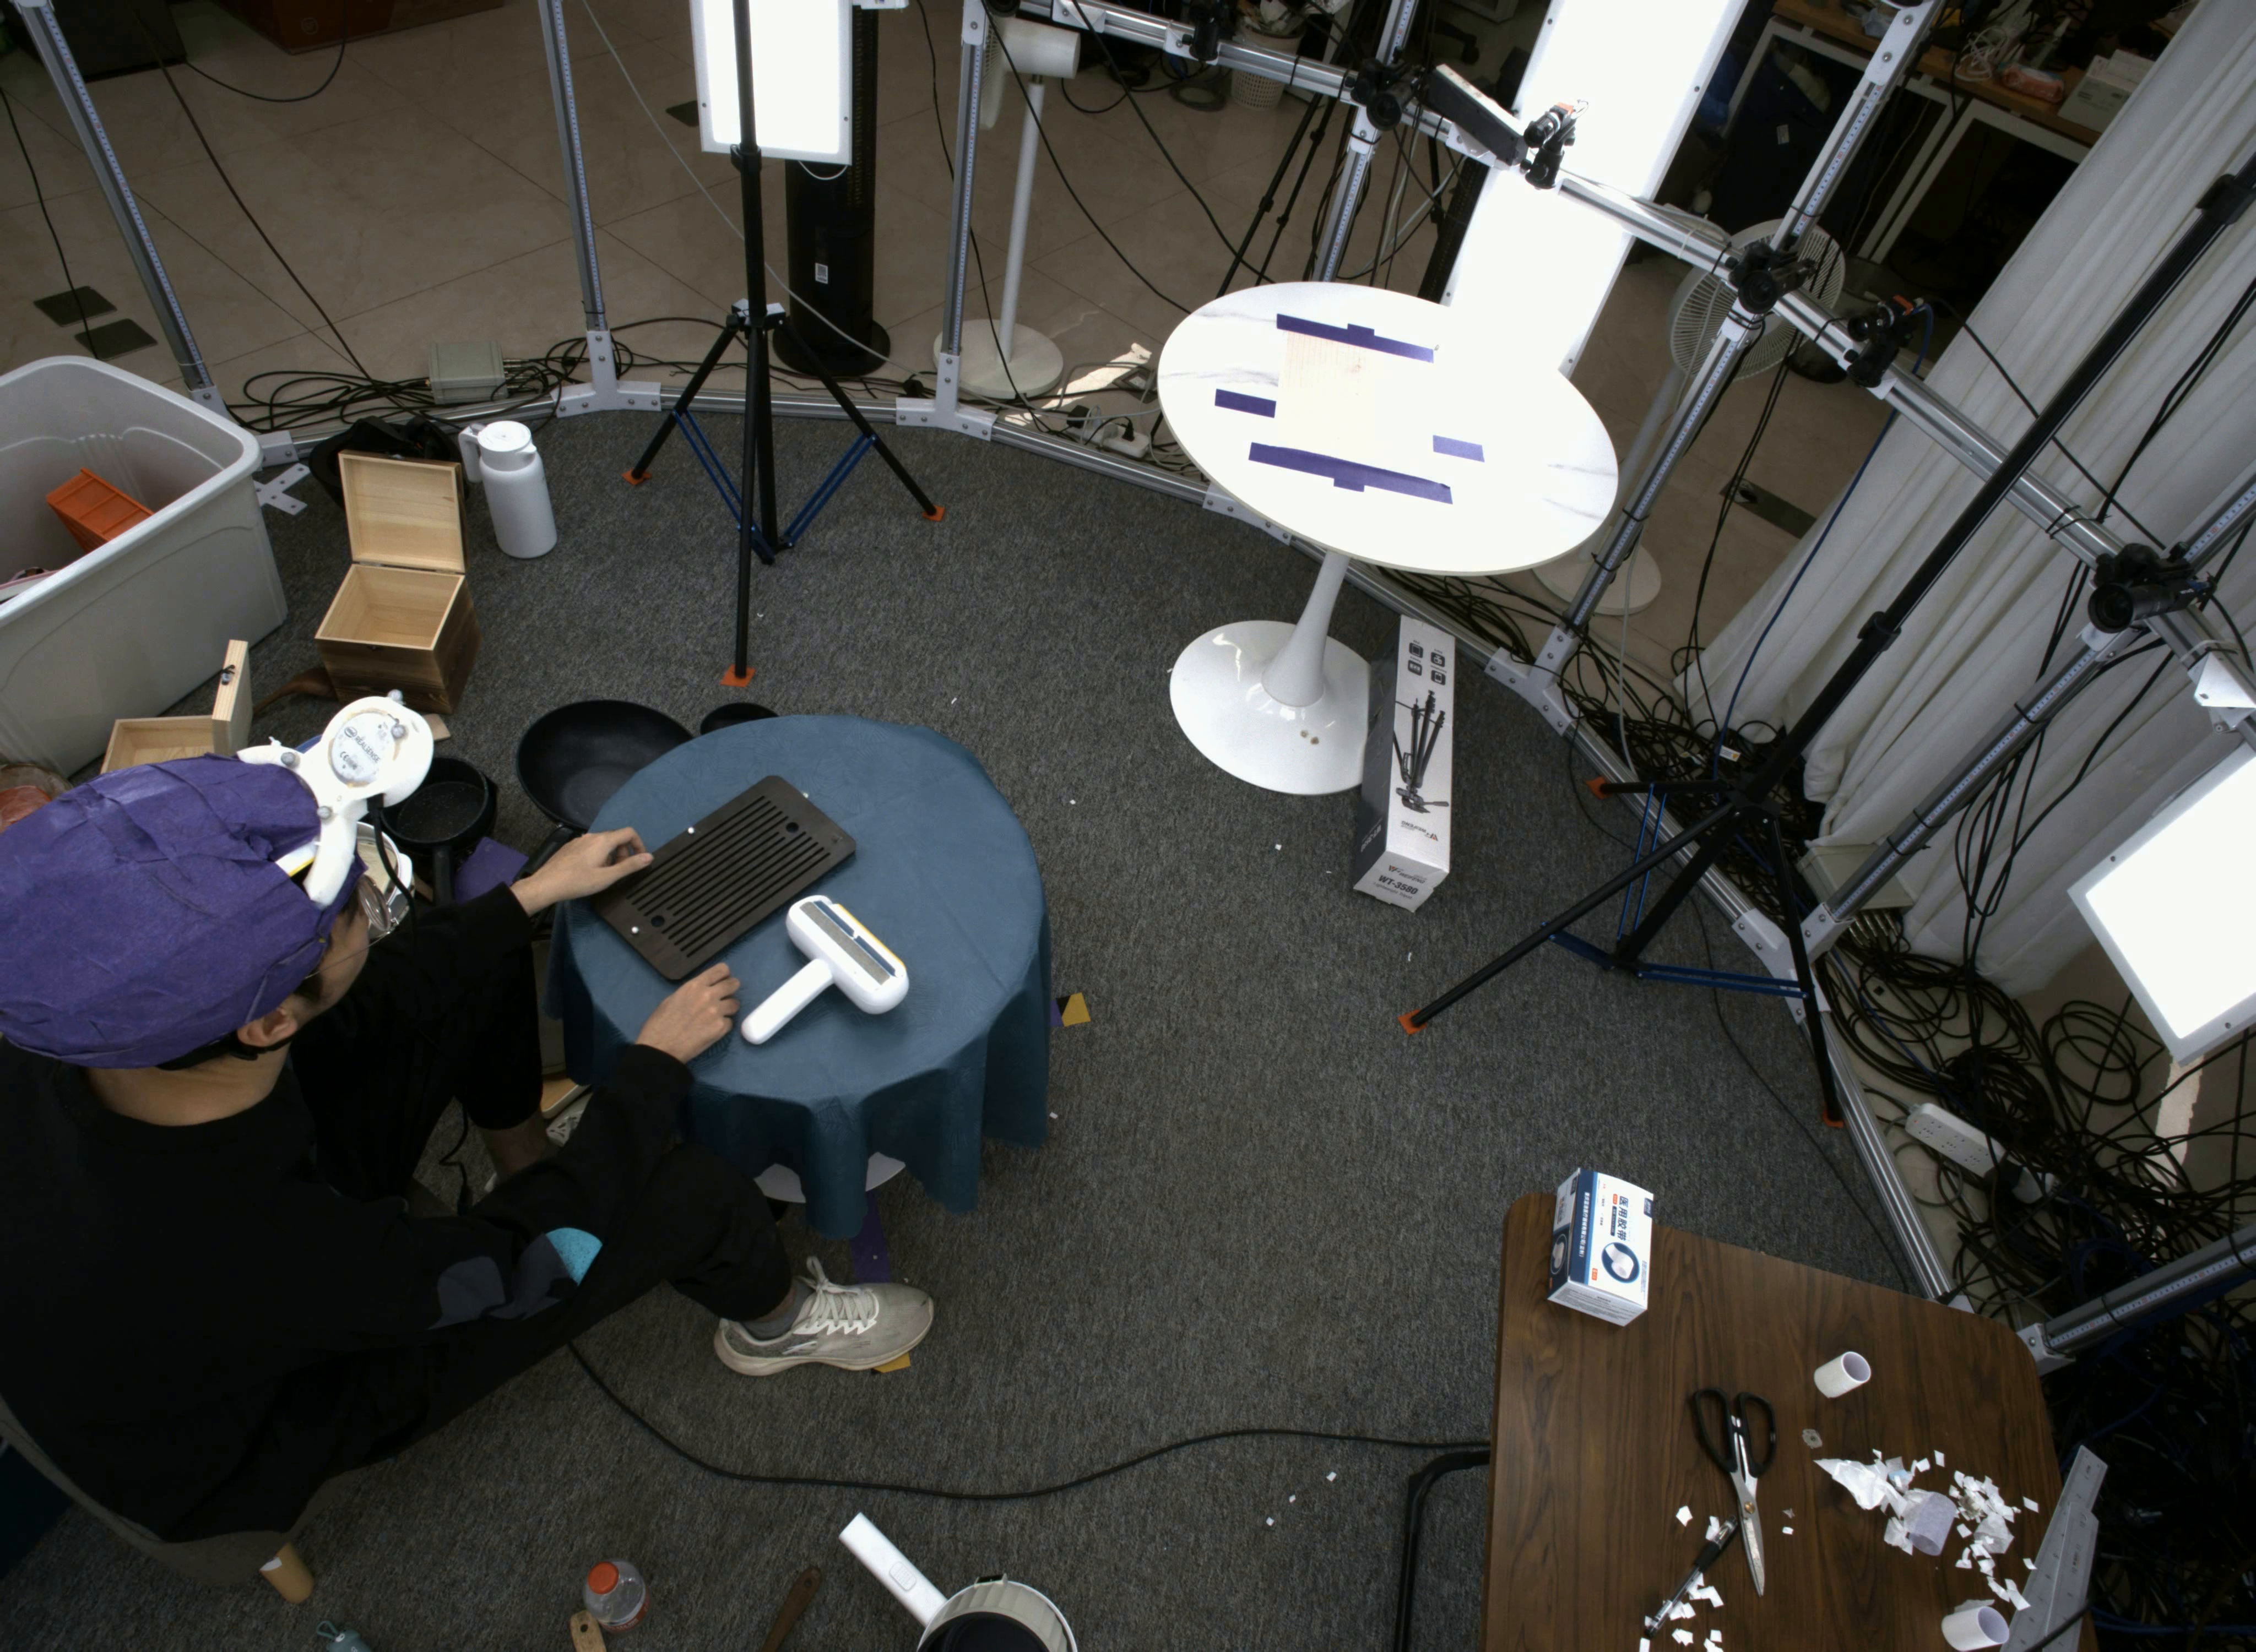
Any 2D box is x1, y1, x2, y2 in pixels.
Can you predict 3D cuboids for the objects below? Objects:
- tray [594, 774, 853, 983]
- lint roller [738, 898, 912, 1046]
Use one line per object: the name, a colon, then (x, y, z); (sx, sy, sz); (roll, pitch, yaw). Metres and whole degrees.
tray: (-0.515, 0.060, 1.650); (0.167, 0.019, 0.306); (39, 54, 14)
lint roller: (-0.382, 0.189, 1.558); (0.193, 0.076, 0.187); (-32, 61, -30)
